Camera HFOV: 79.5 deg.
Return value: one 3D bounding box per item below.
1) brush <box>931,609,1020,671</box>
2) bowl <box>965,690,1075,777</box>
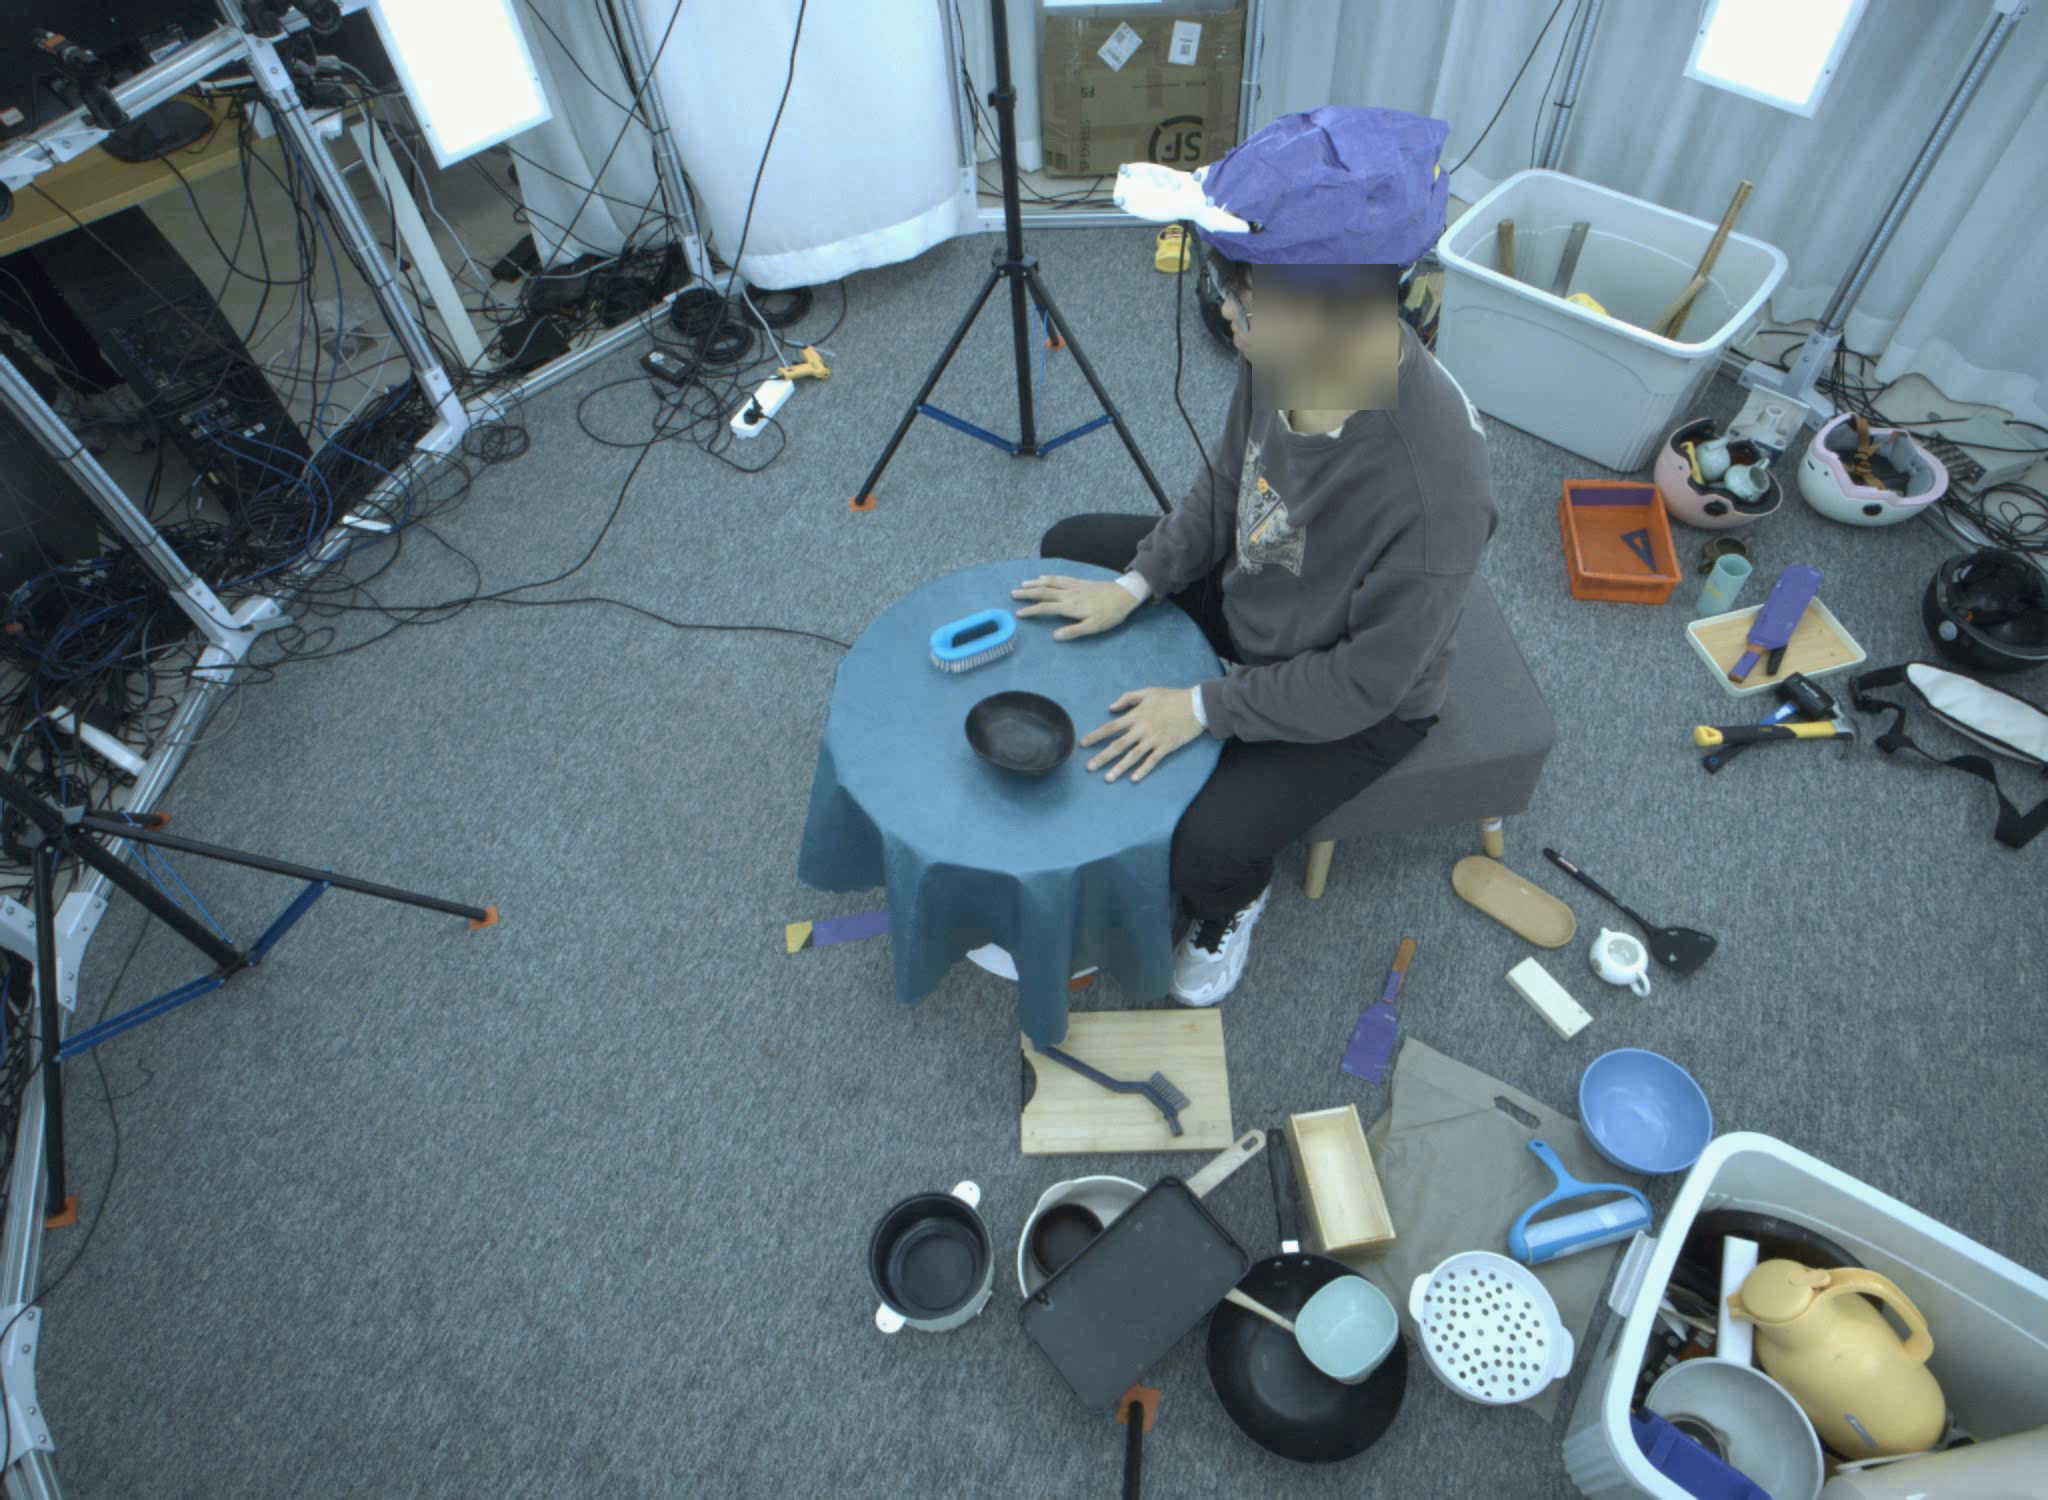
[{"bbox_3d":[-0.077,-0.179,1.875,0.143,0.064,0.083,-20,51,-13],"label":"brush"},{"bbox_3d":[-0.006,-0.013,1.755,0.167,0.067,0.138,27,59,22],"label":"bowl"}]
